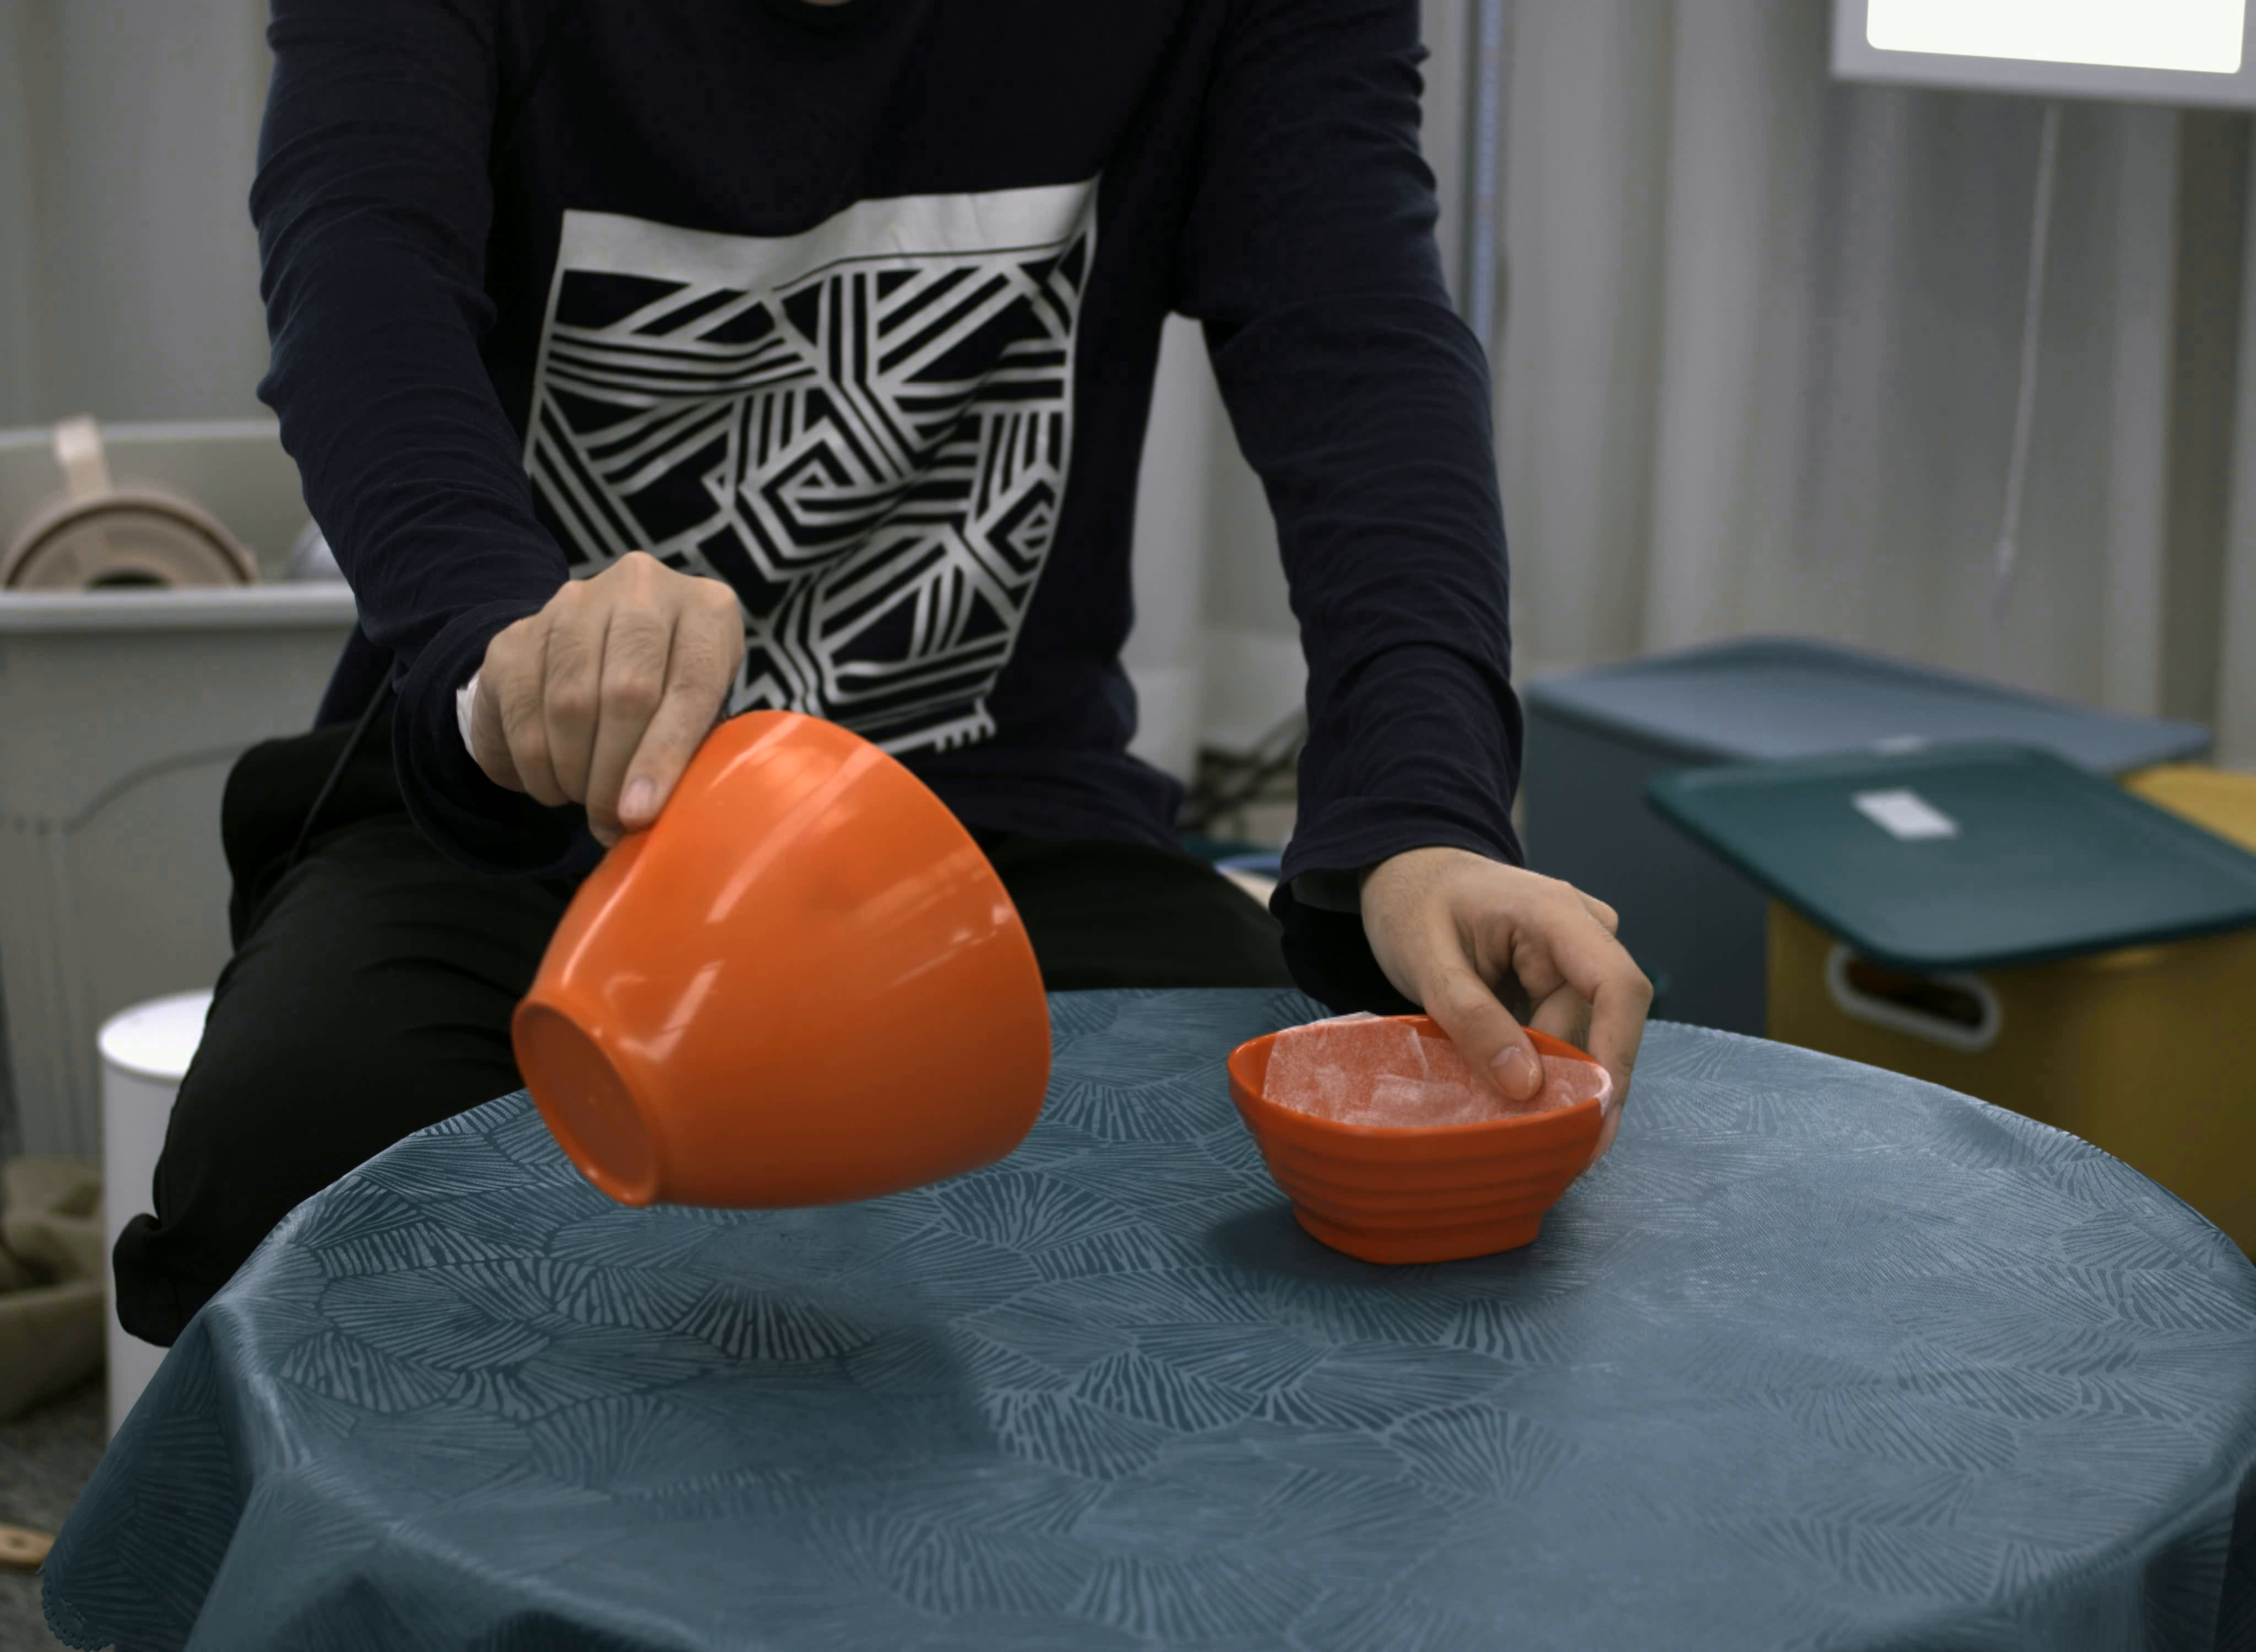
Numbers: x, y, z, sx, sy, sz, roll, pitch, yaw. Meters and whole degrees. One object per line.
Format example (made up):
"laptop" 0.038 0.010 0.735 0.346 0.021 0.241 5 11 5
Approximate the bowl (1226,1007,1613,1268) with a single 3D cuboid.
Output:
"bowl" 0.087 0.096 1.590 0.118 0.052 0.118 -1 17 1

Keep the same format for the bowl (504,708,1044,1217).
"bowl" -0.109 0.053 1.462 0.105 0.150 0.146 -34 33 -29
